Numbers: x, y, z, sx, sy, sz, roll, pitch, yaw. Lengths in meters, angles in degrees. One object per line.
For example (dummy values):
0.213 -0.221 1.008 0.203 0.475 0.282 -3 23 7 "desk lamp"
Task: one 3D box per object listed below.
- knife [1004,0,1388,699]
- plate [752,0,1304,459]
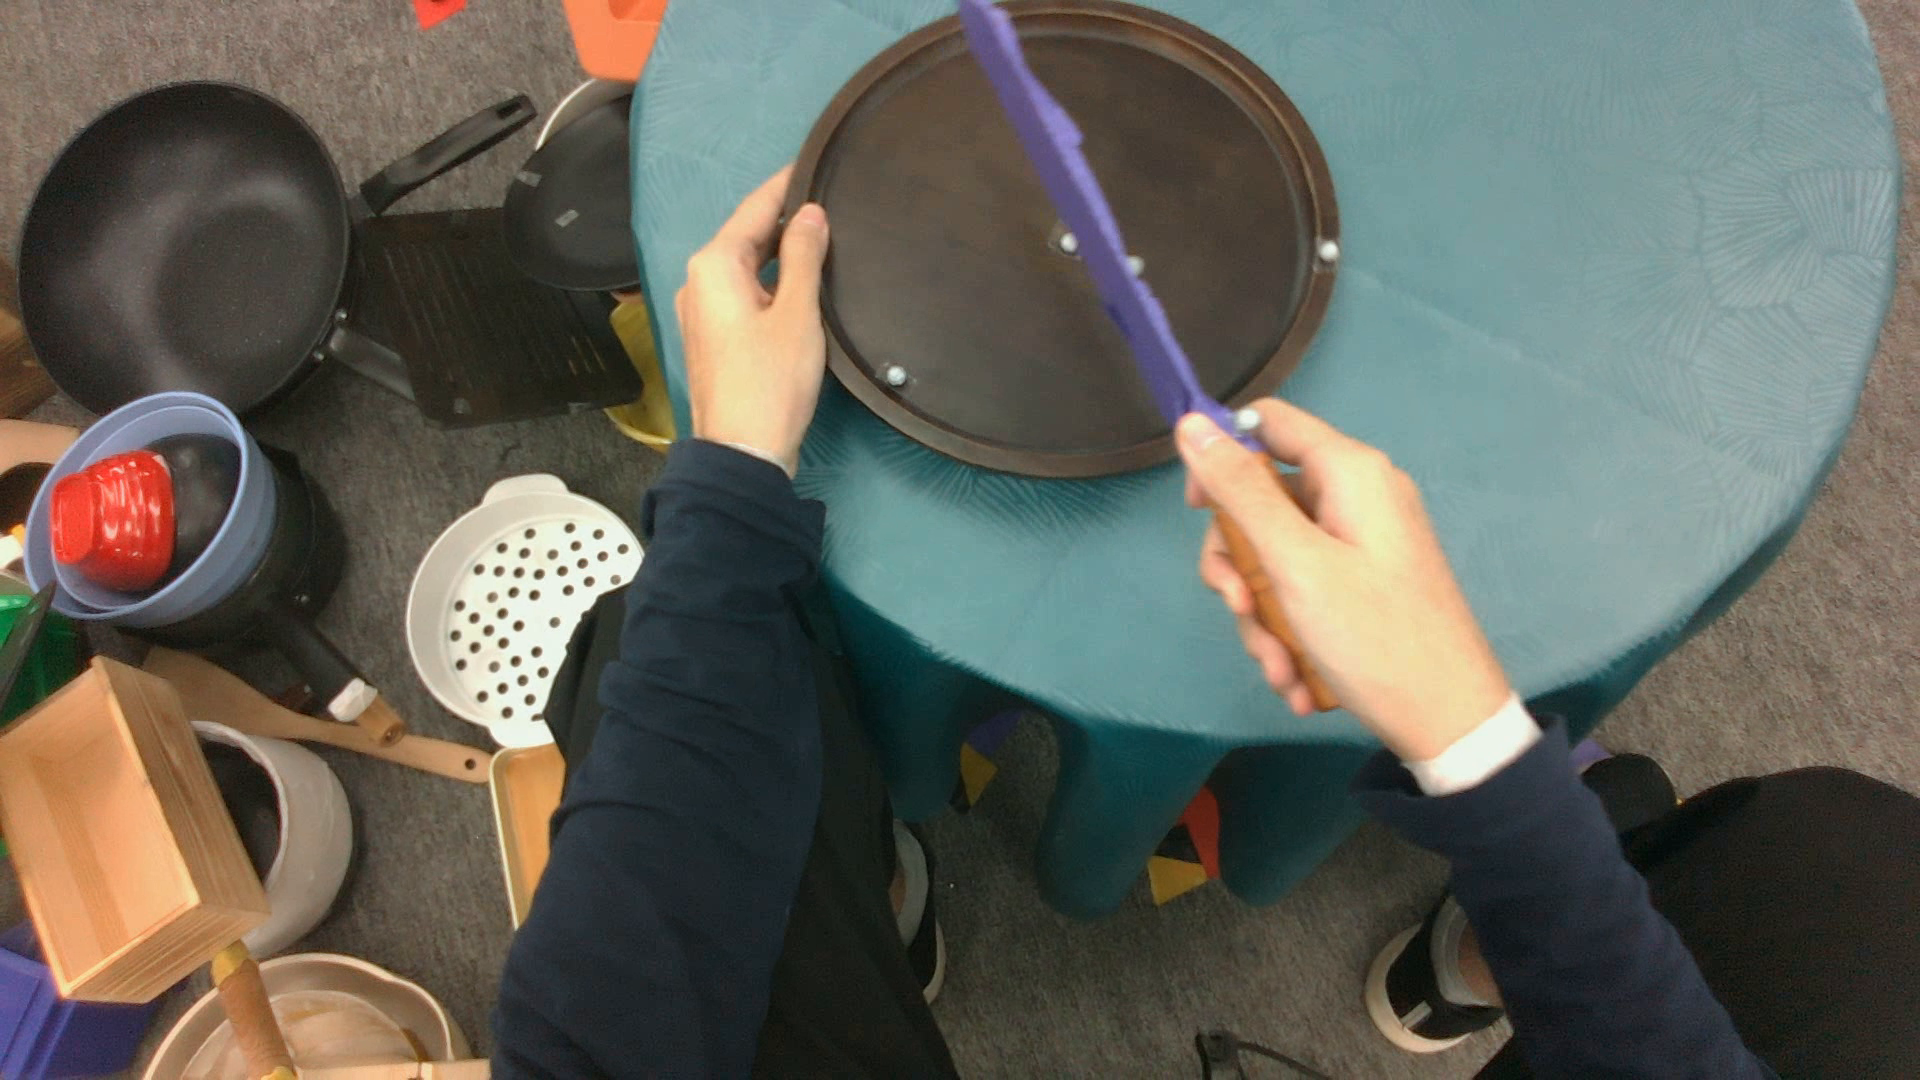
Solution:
0.079 -0.093 0.518 0.032 0.104 0.315 -23 84 6 "knife"
0.031 -0.153 0.637 0.255 0.029 0.255 1 71 -2 "plate"
